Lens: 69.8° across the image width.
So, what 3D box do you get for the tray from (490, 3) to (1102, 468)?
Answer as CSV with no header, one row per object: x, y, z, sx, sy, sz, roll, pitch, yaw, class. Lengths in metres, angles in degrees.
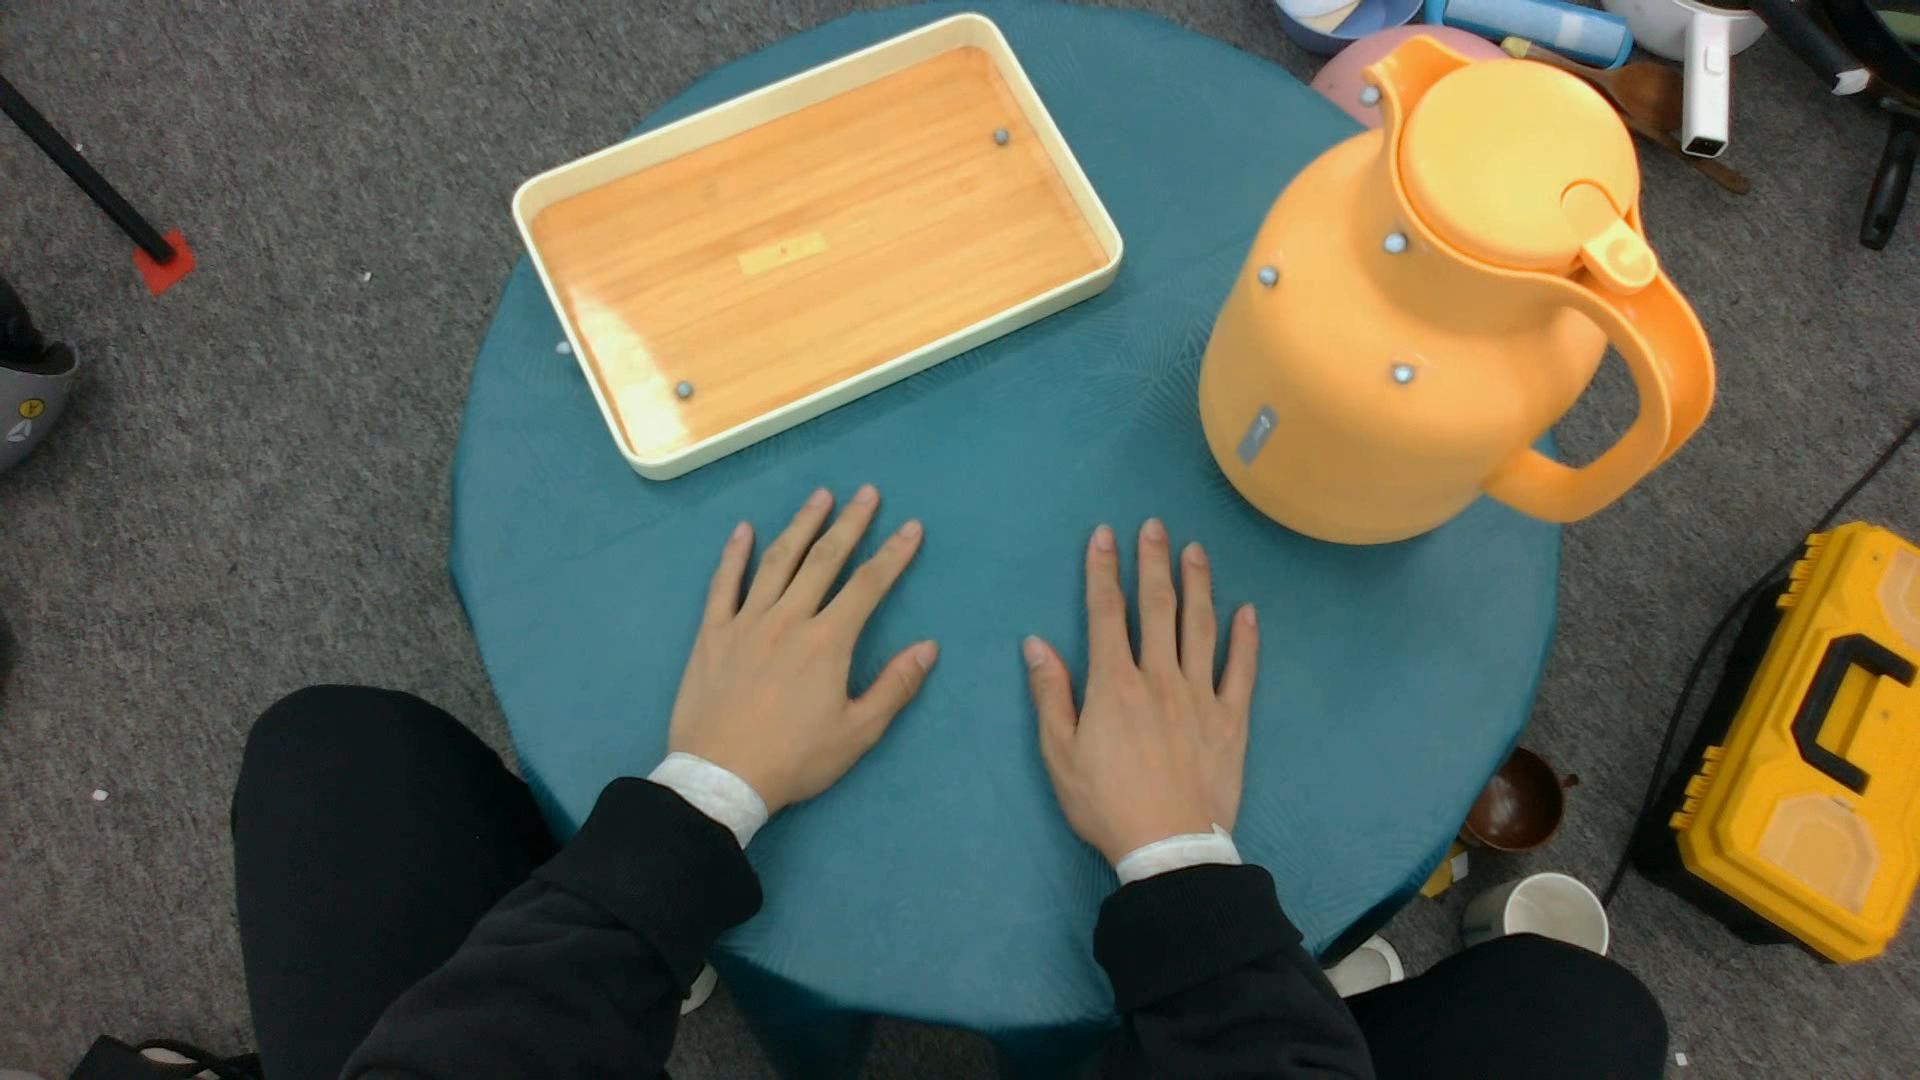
-0.090,-0.177,0.775,0.301,0.027,0.192,-25,74,-11,tray

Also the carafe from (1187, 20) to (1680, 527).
0.213,-0.100,0.638,0.164,0.259,0.202,-34,74,-10,carafe
